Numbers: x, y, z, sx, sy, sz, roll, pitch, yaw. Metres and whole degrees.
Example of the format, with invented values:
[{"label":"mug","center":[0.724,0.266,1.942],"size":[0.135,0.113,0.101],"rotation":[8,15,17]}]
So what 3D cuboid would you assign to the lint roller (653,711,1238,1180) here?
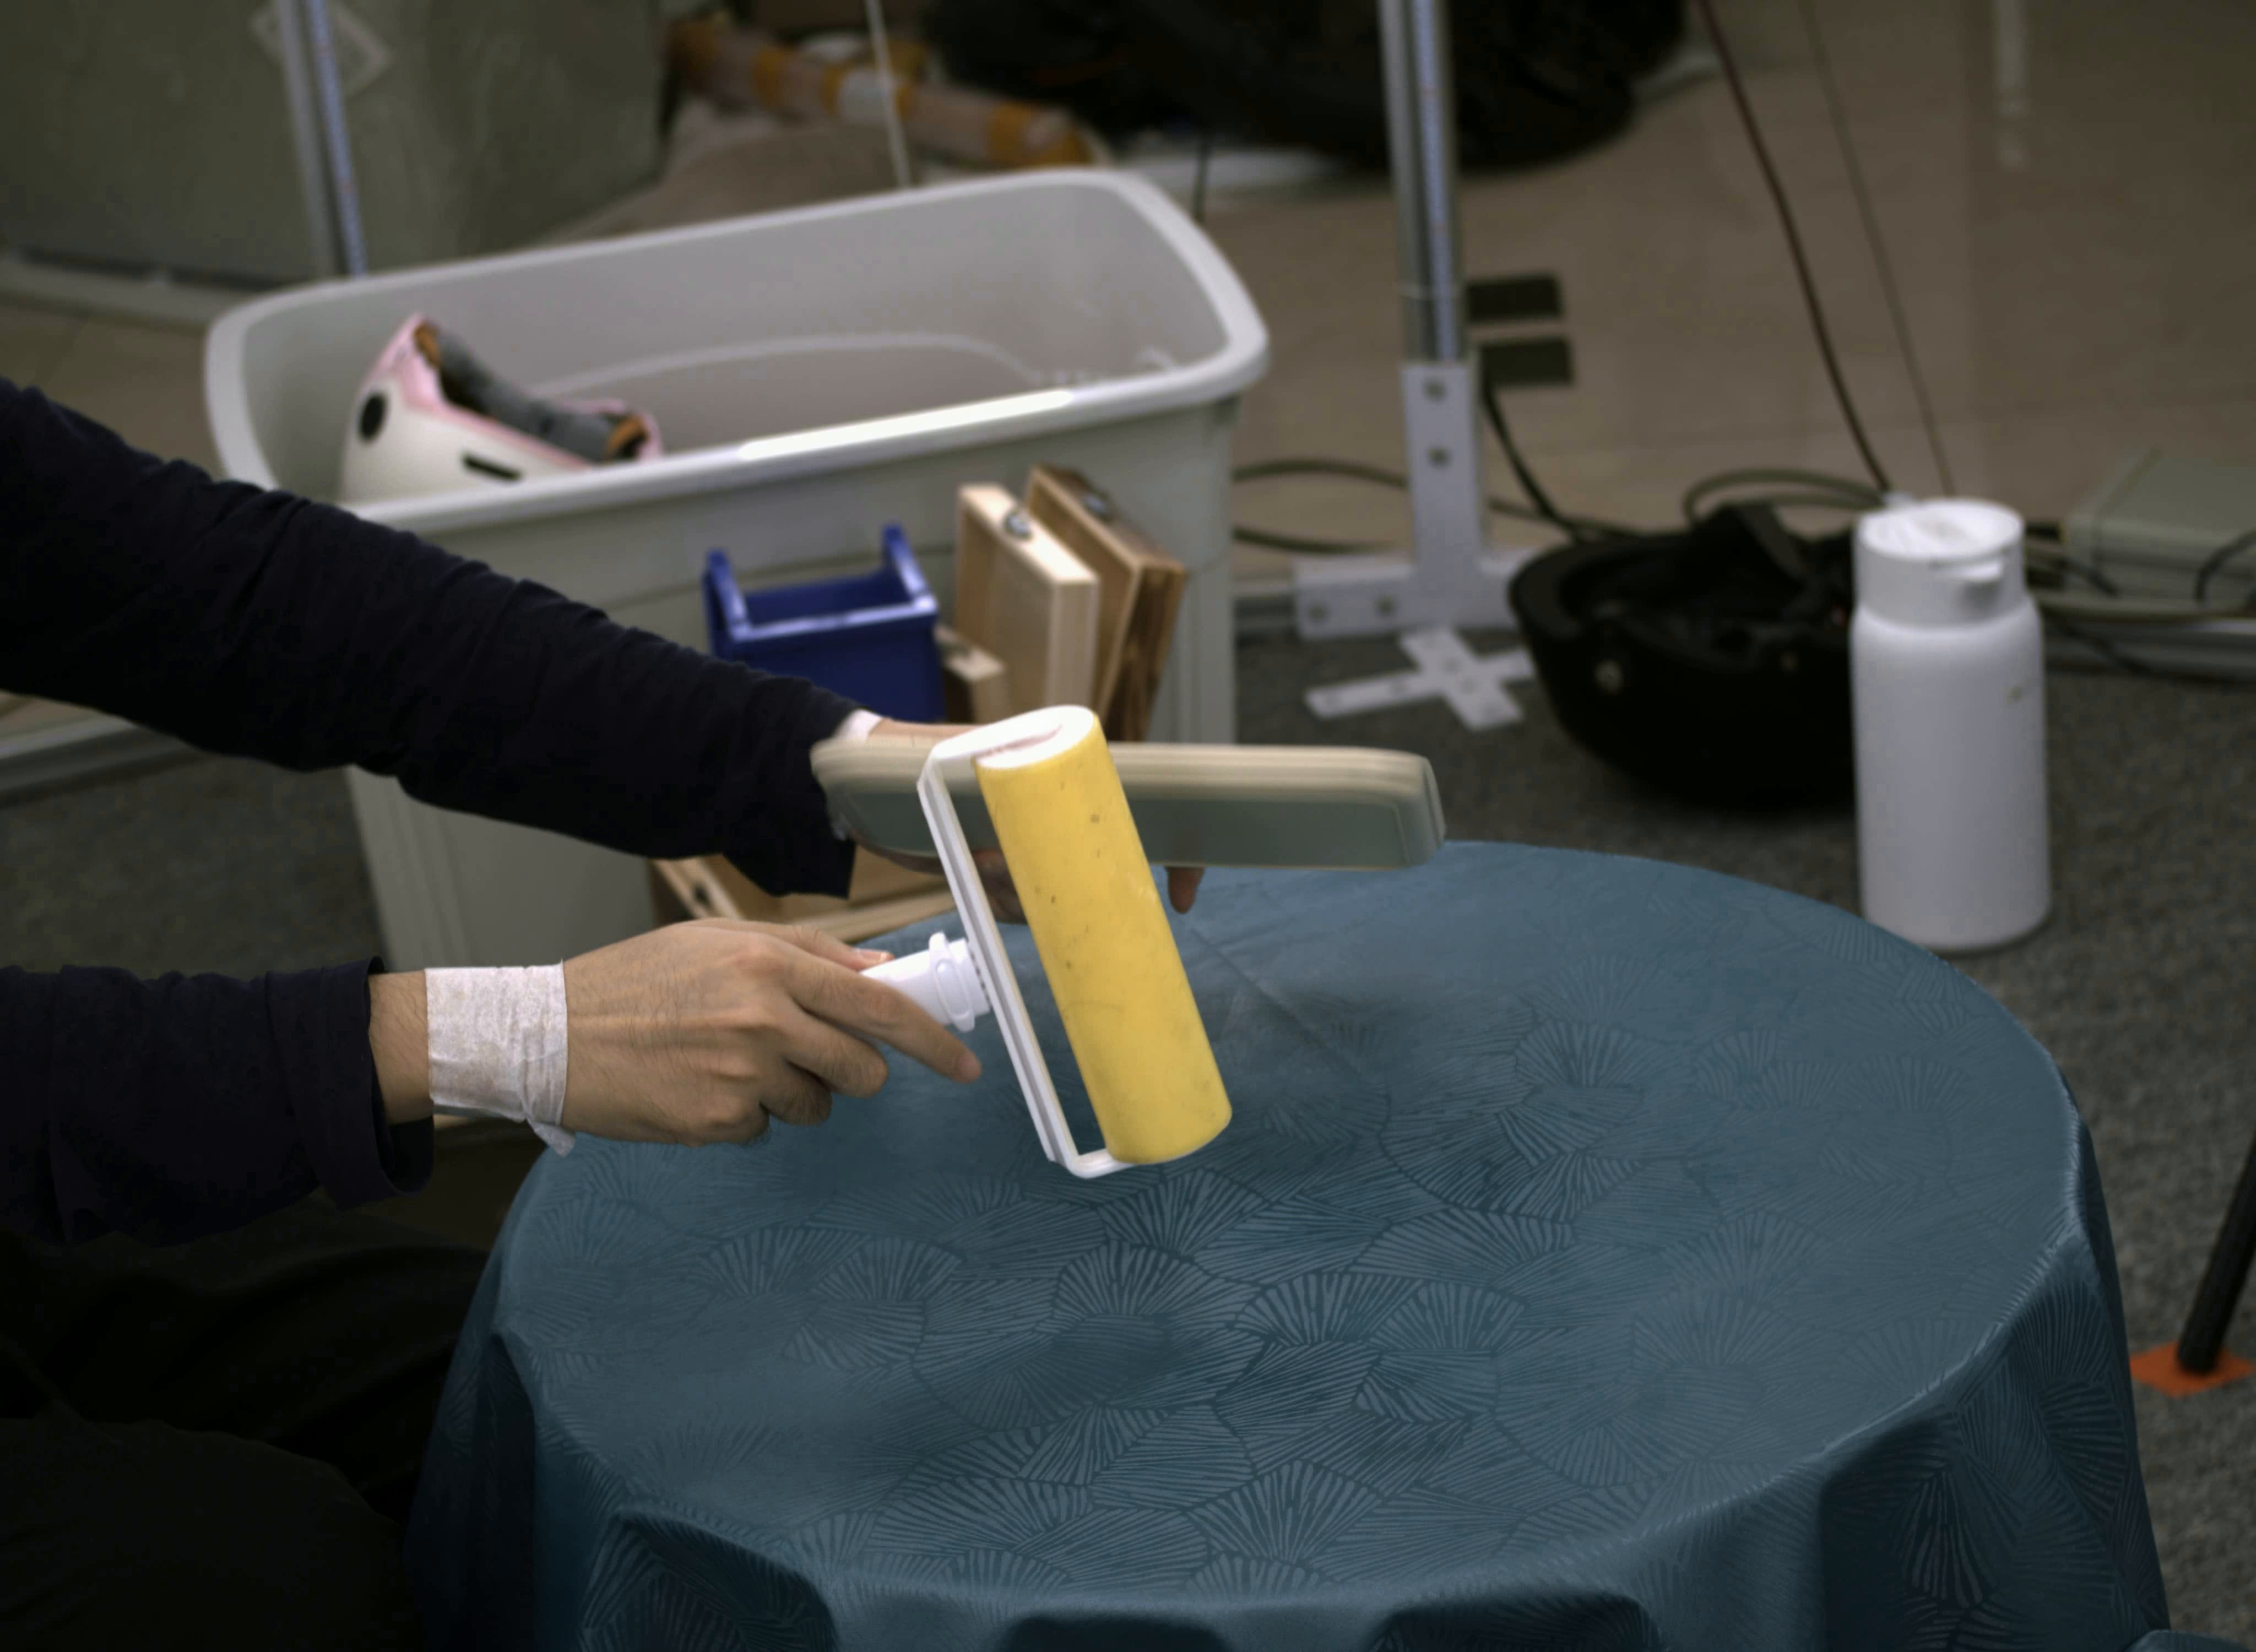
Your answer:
[{"label":"lint roller","center":[-0.075,0.067,2.000],"size":[0.191,0.177,0.051],"rotation":[-22,25,-3]}]

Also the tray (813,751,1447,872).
[{"label":"tray","center":[0.003,-0.004,2.199],"size":[0.239,0.017,0.172],"rotation":[1,-10,6]}]
